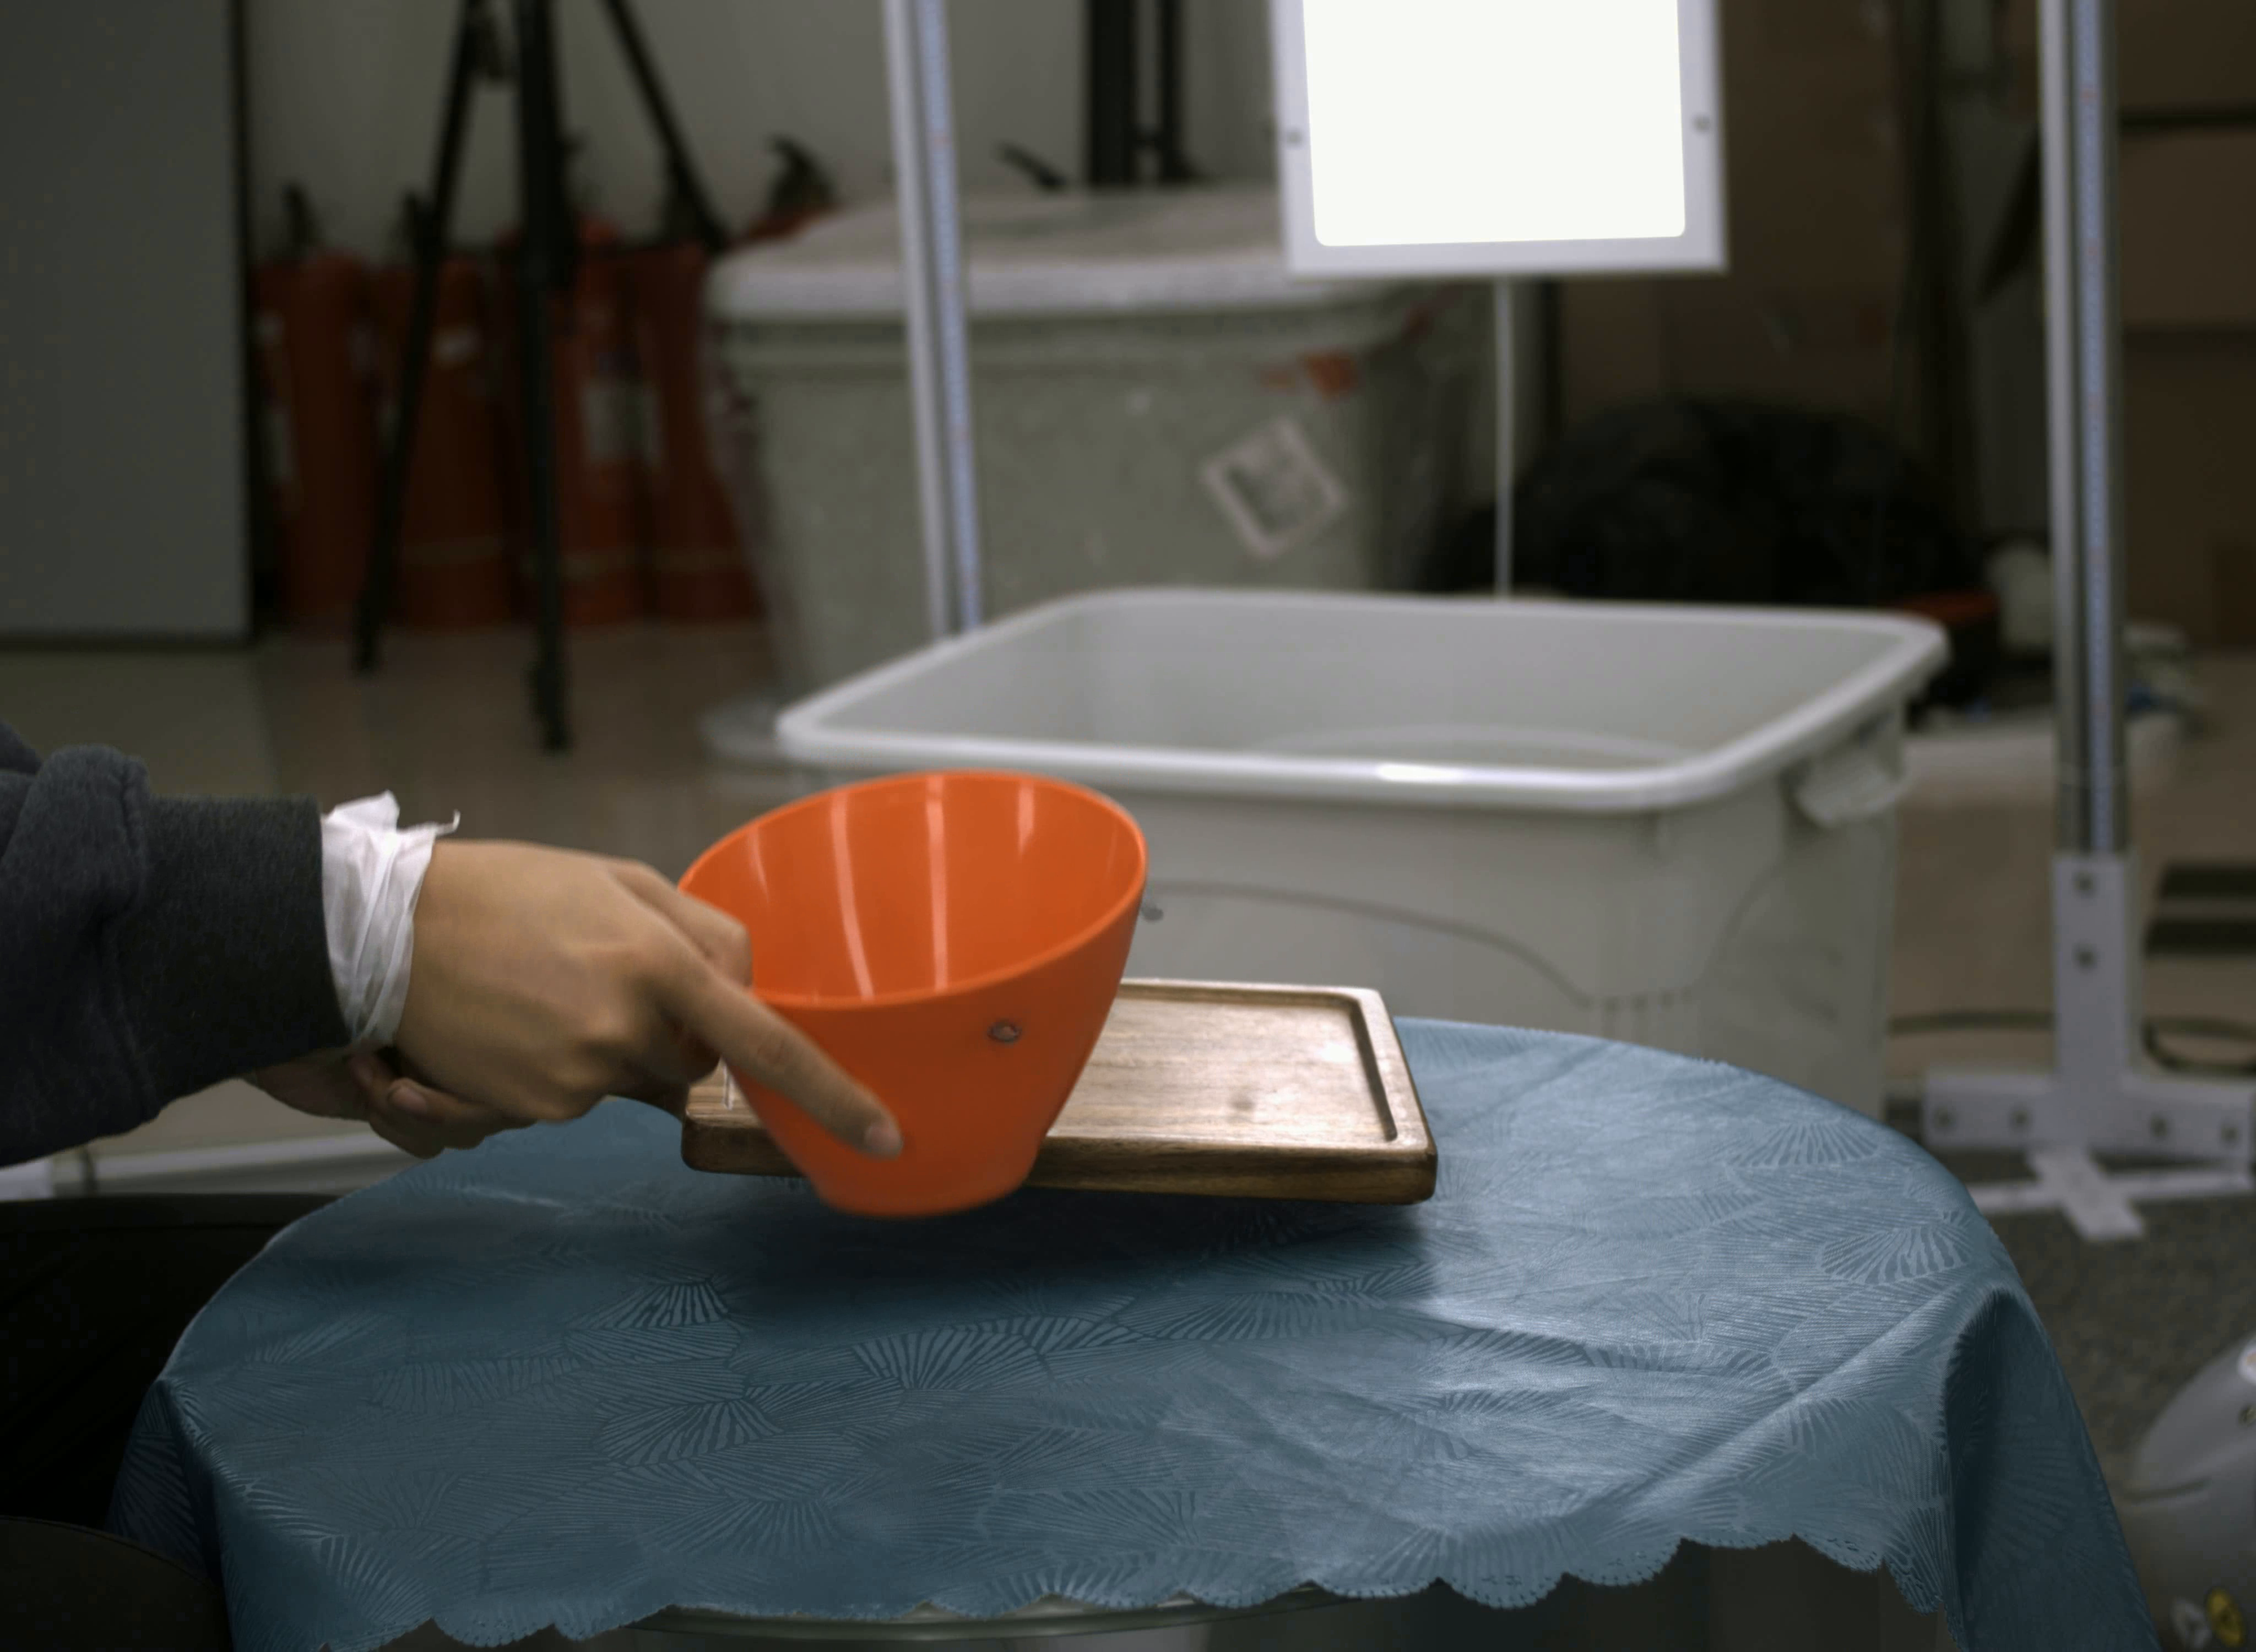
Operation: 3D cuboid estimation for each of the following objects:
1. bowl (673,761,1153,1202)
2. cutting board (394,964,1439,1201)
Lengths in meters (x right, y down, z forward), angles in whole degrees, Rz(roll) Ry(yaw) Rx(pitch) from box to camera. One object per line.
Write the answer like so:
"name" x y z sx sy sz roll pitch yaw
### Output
"bowl" -0.062 0.051 1.682 0.147 0.105 0.148 -5 17 0
"cutting board" -0.076 0.083 1.899 0.351 0.023 0.201 2 14 -2
